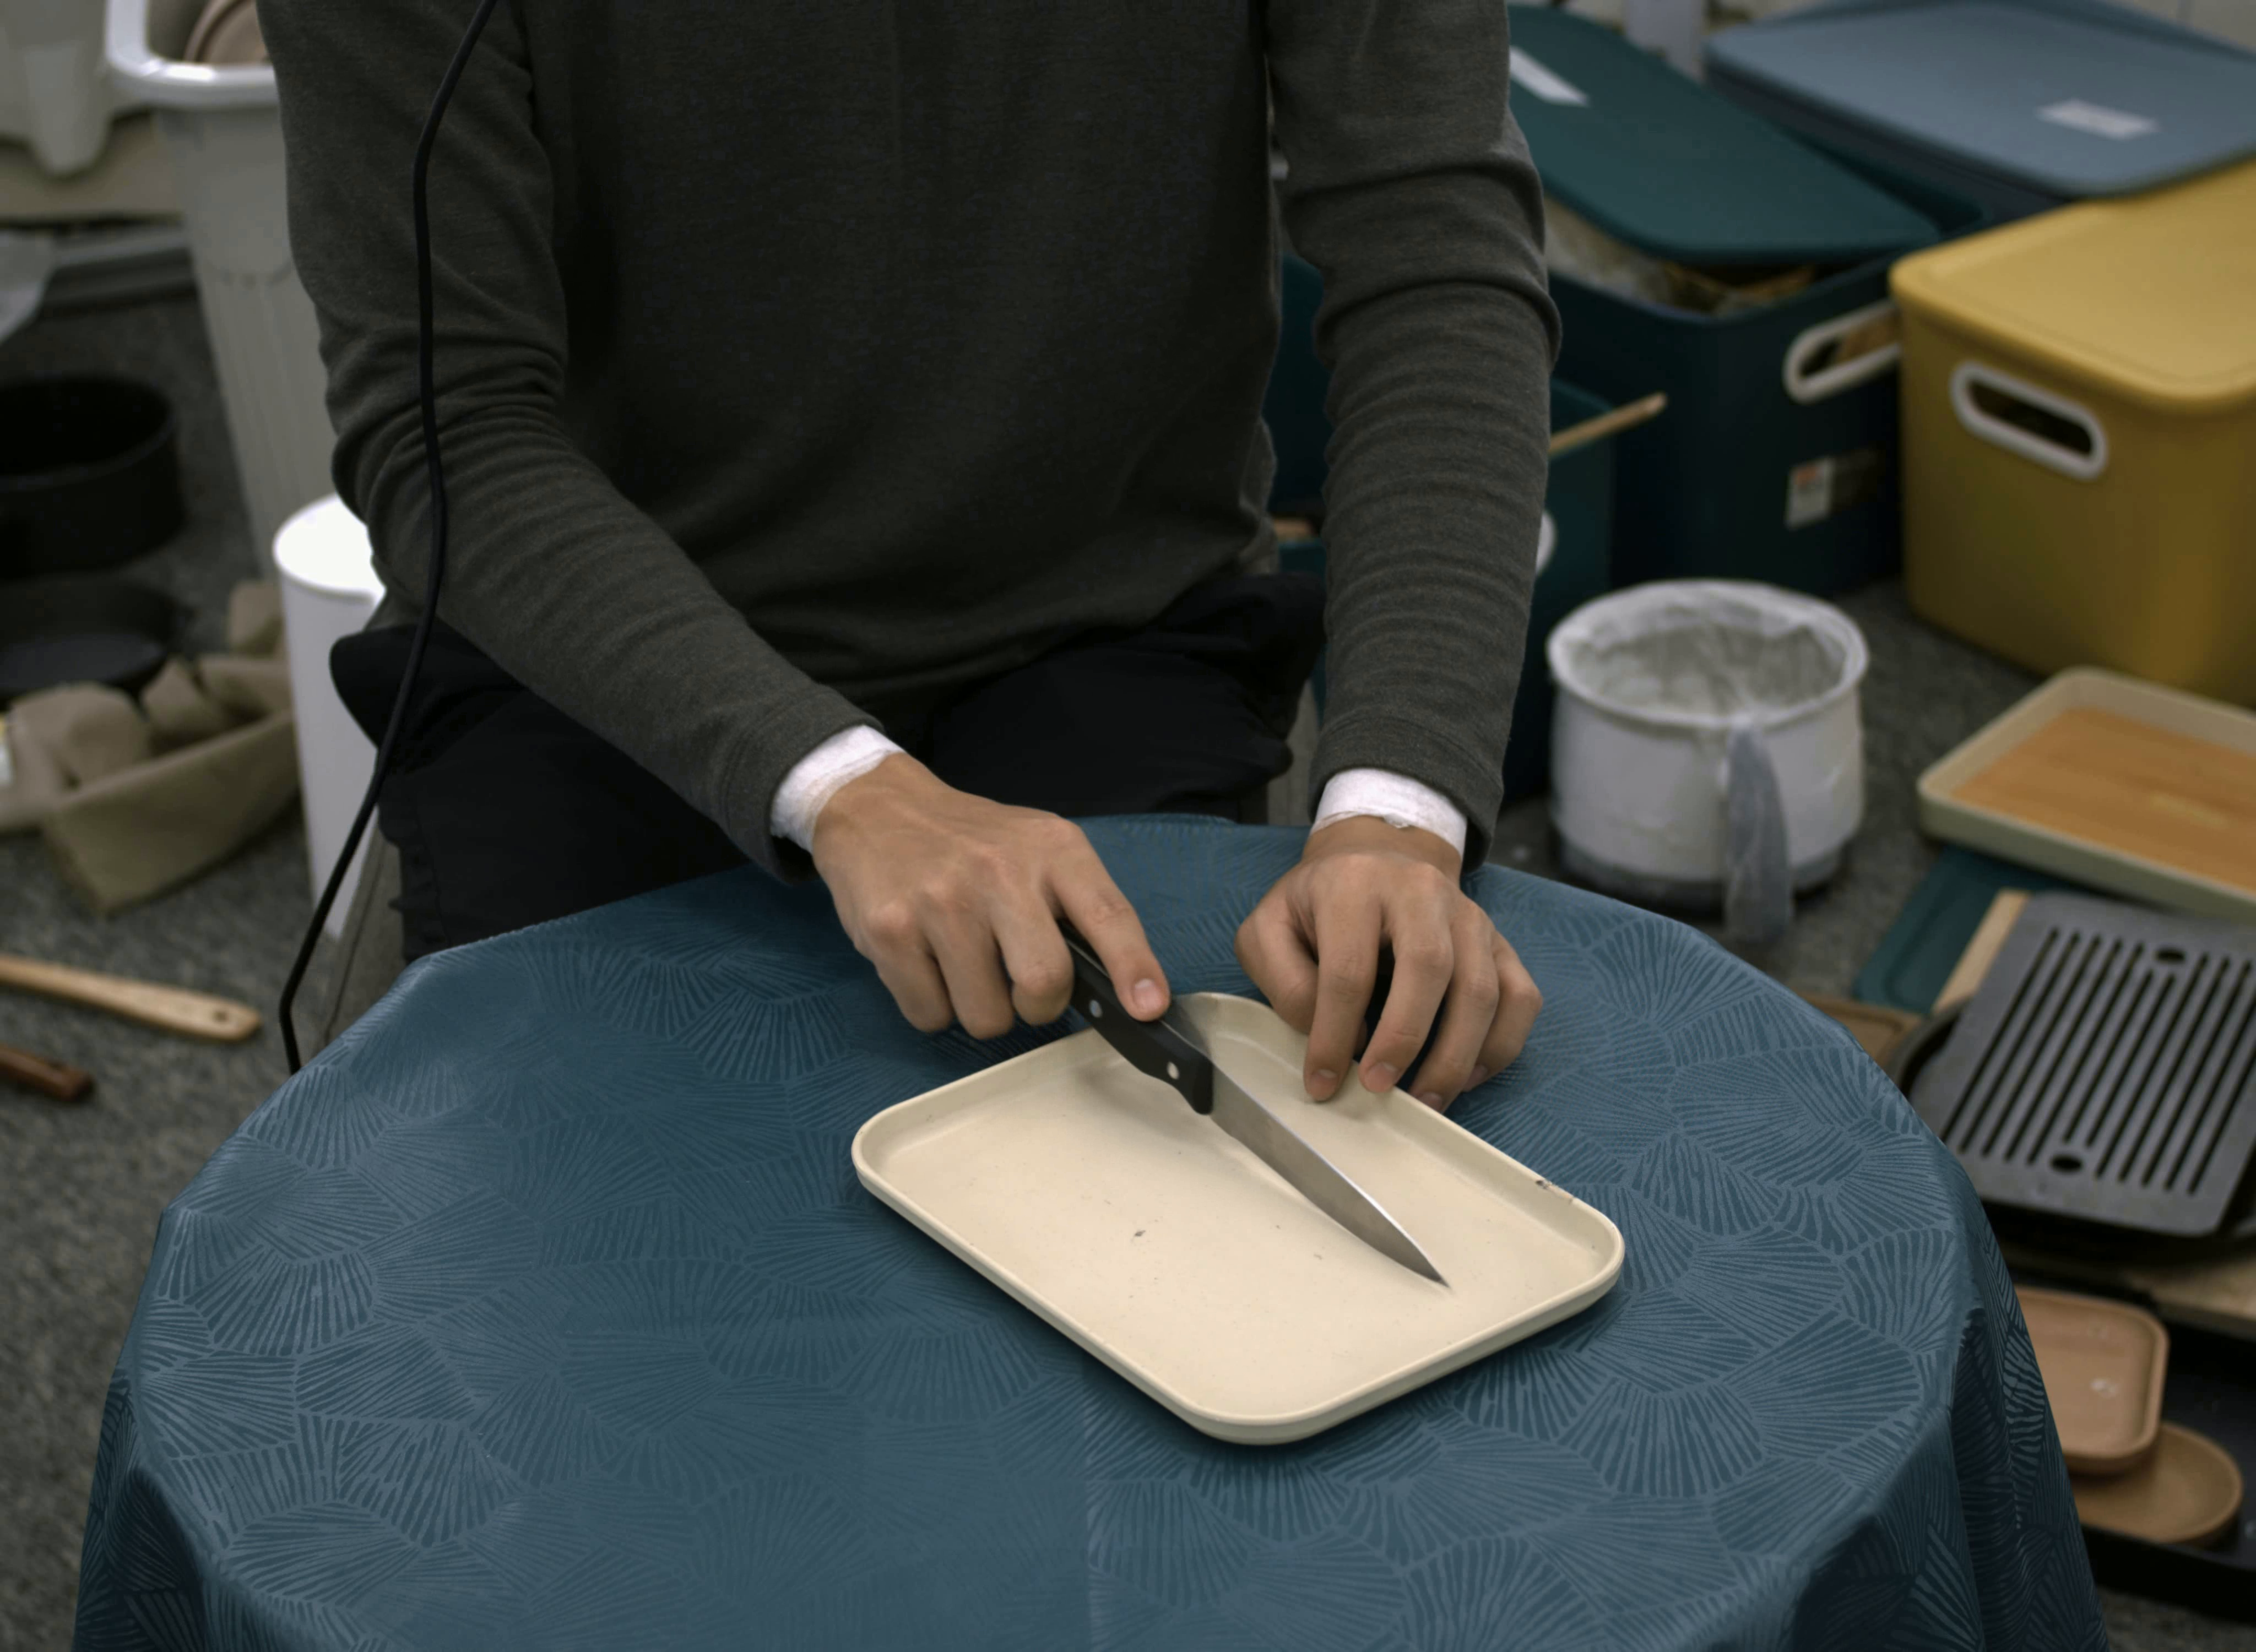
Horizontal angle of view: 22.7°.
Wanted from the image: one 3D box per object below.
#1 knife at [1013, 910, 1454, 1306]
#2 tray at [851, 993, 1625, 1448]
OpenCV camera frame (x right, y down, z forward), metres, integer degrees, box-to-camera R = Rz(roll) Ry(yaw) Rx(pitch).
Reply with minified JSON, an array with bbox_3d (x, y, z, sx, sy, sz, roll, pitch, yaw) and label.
[{"bbox_3d":[0.034,0.091,1.863,0.016,0.024,0.239,-17,40,-33],"label":"knife"},{"bbox_3d":[0.033,0.127,1.830,0.173,0.017,0.240,-21,32,-30],"label":"tray"}]
